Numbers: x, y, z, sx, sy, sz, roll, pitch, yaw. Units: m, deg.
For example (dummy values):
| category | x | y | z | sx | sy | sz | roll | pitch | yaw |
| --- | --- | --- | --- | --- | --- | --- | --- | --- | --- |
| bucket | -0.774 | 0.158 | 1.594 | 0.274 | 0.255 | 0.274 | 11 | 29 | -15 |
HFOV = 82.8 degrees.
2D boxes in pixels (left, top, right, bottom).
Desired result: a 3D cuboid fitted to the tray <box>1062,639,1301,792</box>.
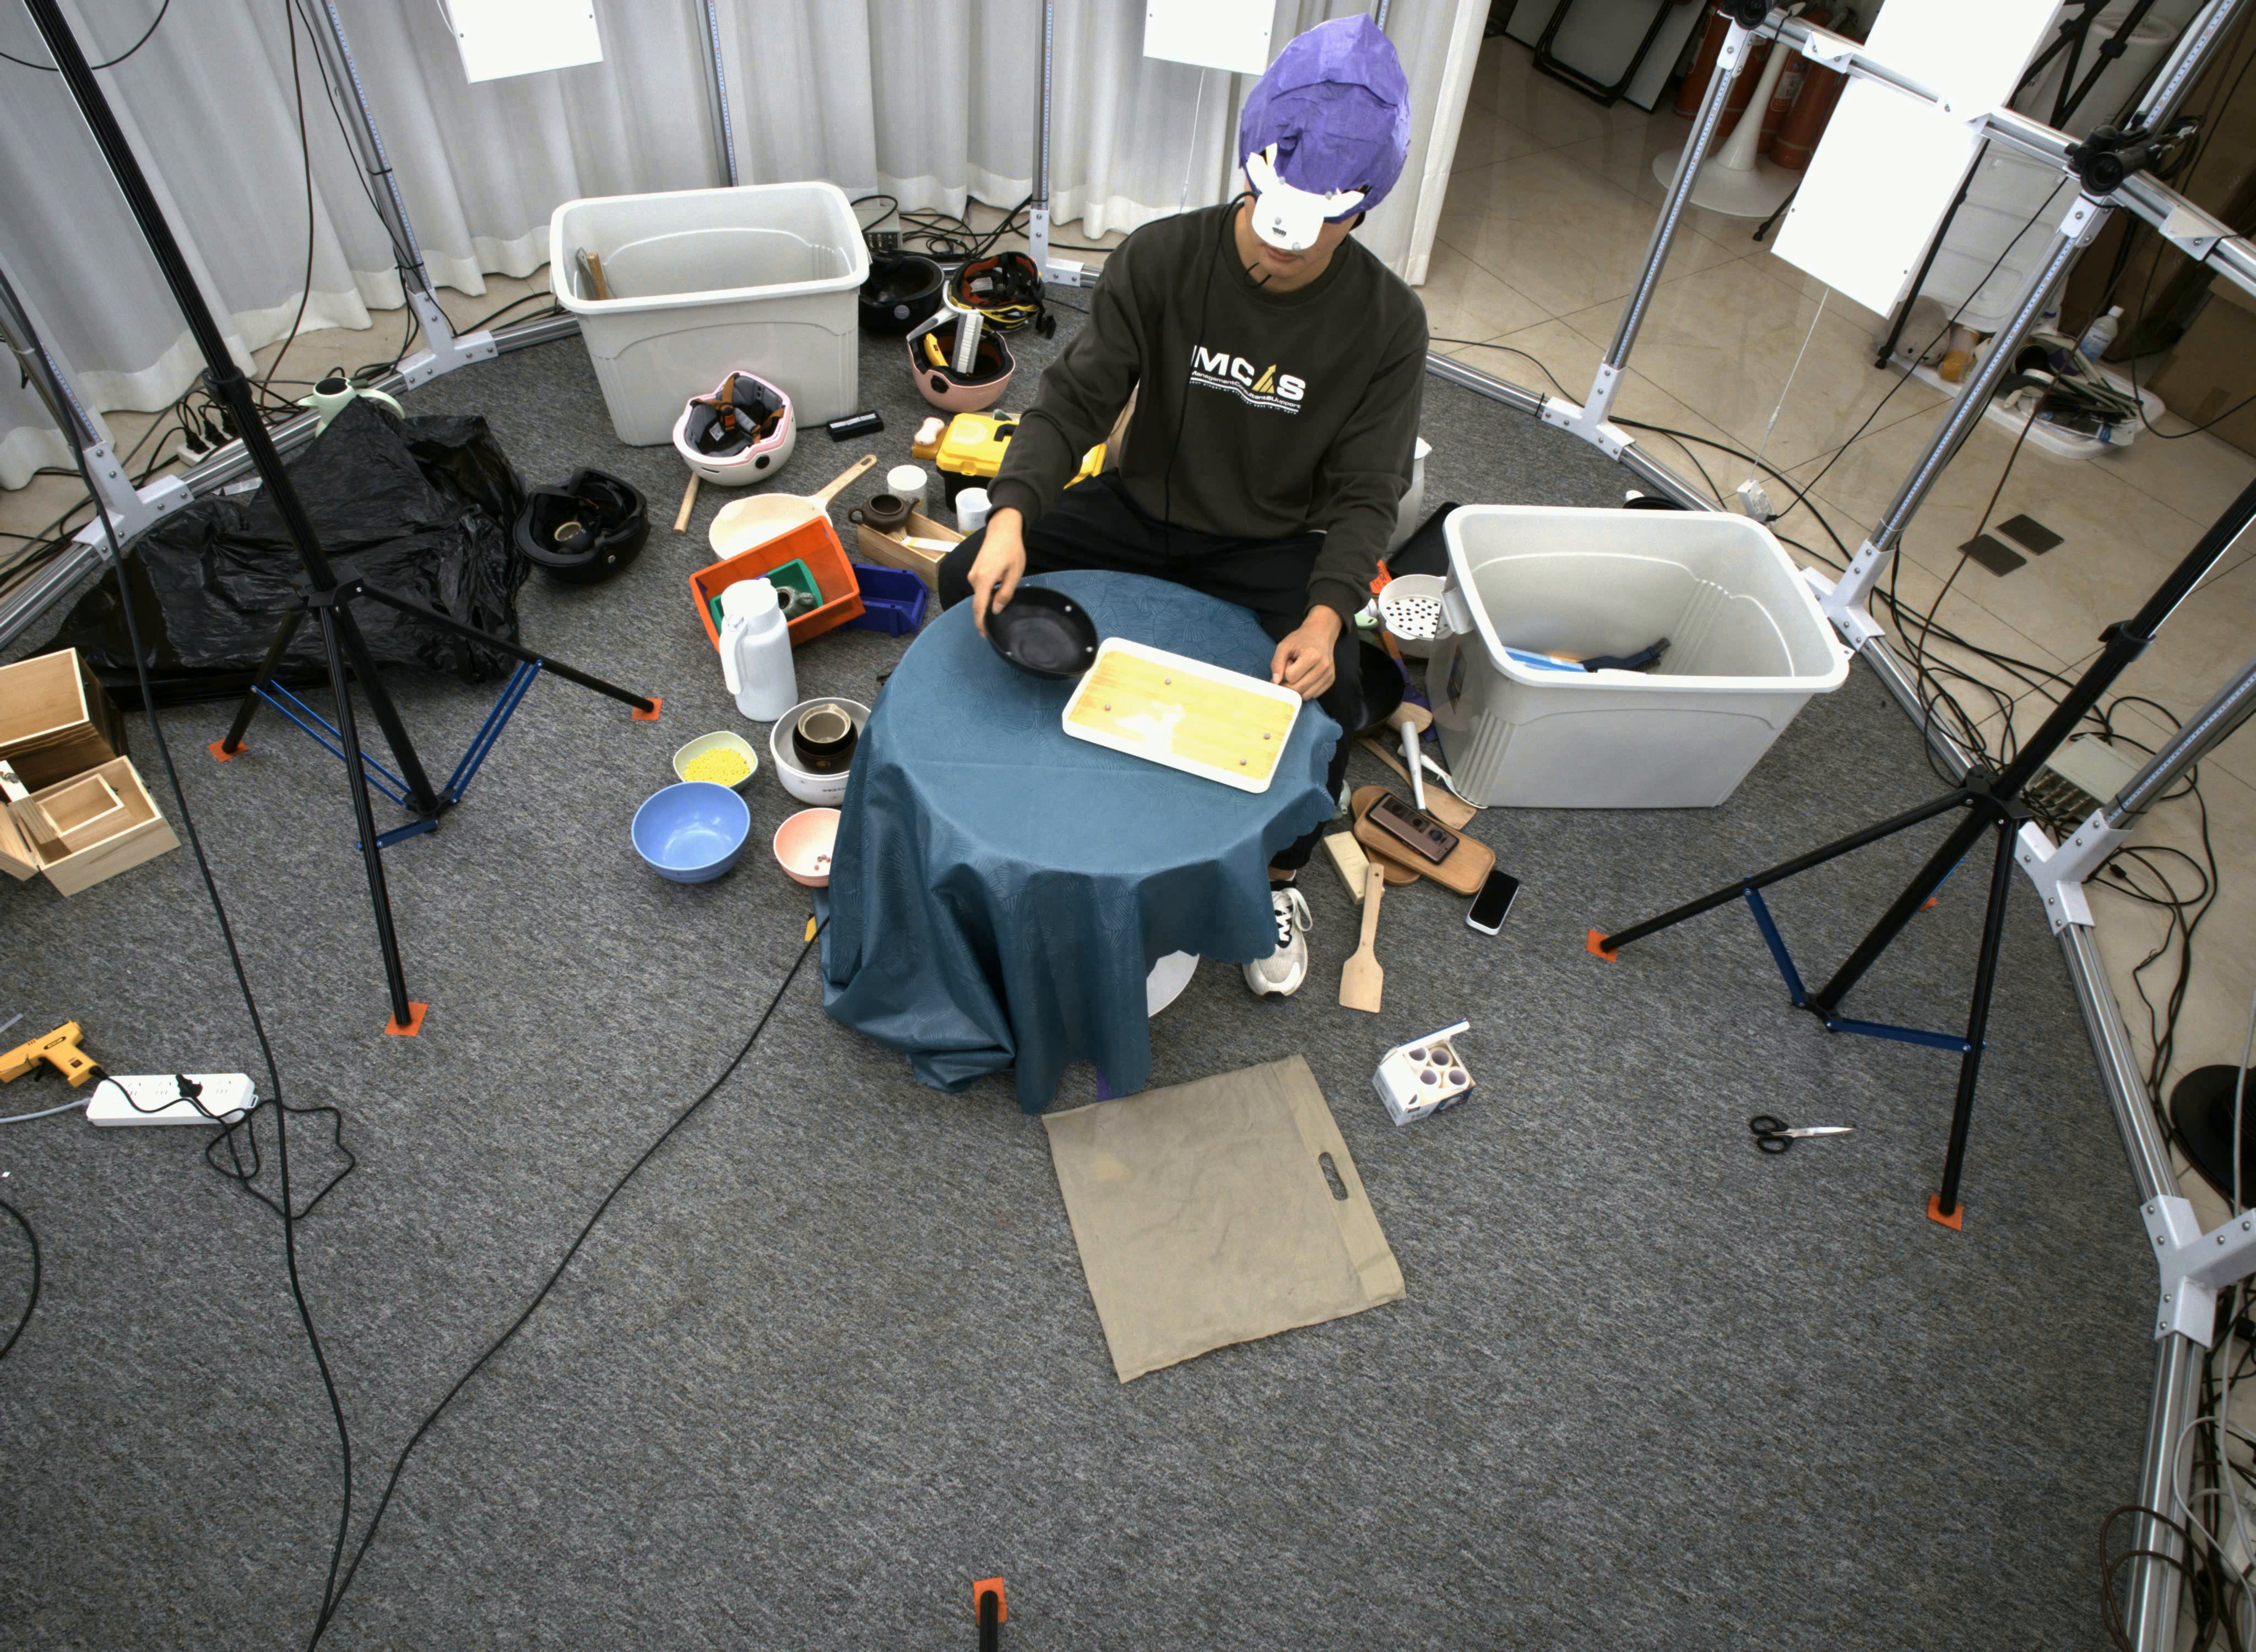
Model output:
| category | x | y | z | sx | sy | sz | roll | pitch | yaw |
| --- | --- | --- | --- | --- | --- | --- | --- | --- | --- |
| tray | 0.076 | -0.158 | 1.790 | 0.301 | 0.027 | 0.195 | 18 | 50 | 11 |

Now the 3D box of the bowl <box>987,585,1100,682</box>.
| category | x | y | z | sx | sy | sz | roll | pitch | yaw |
| --- | --- | --- | --- | --- | --- | --- | --- | --- | --- |
| bowl | -0.119 | -0.261 | 1.808 | 0.171 | 0.065 | 0.139 | 30 | 62 | 7 |
